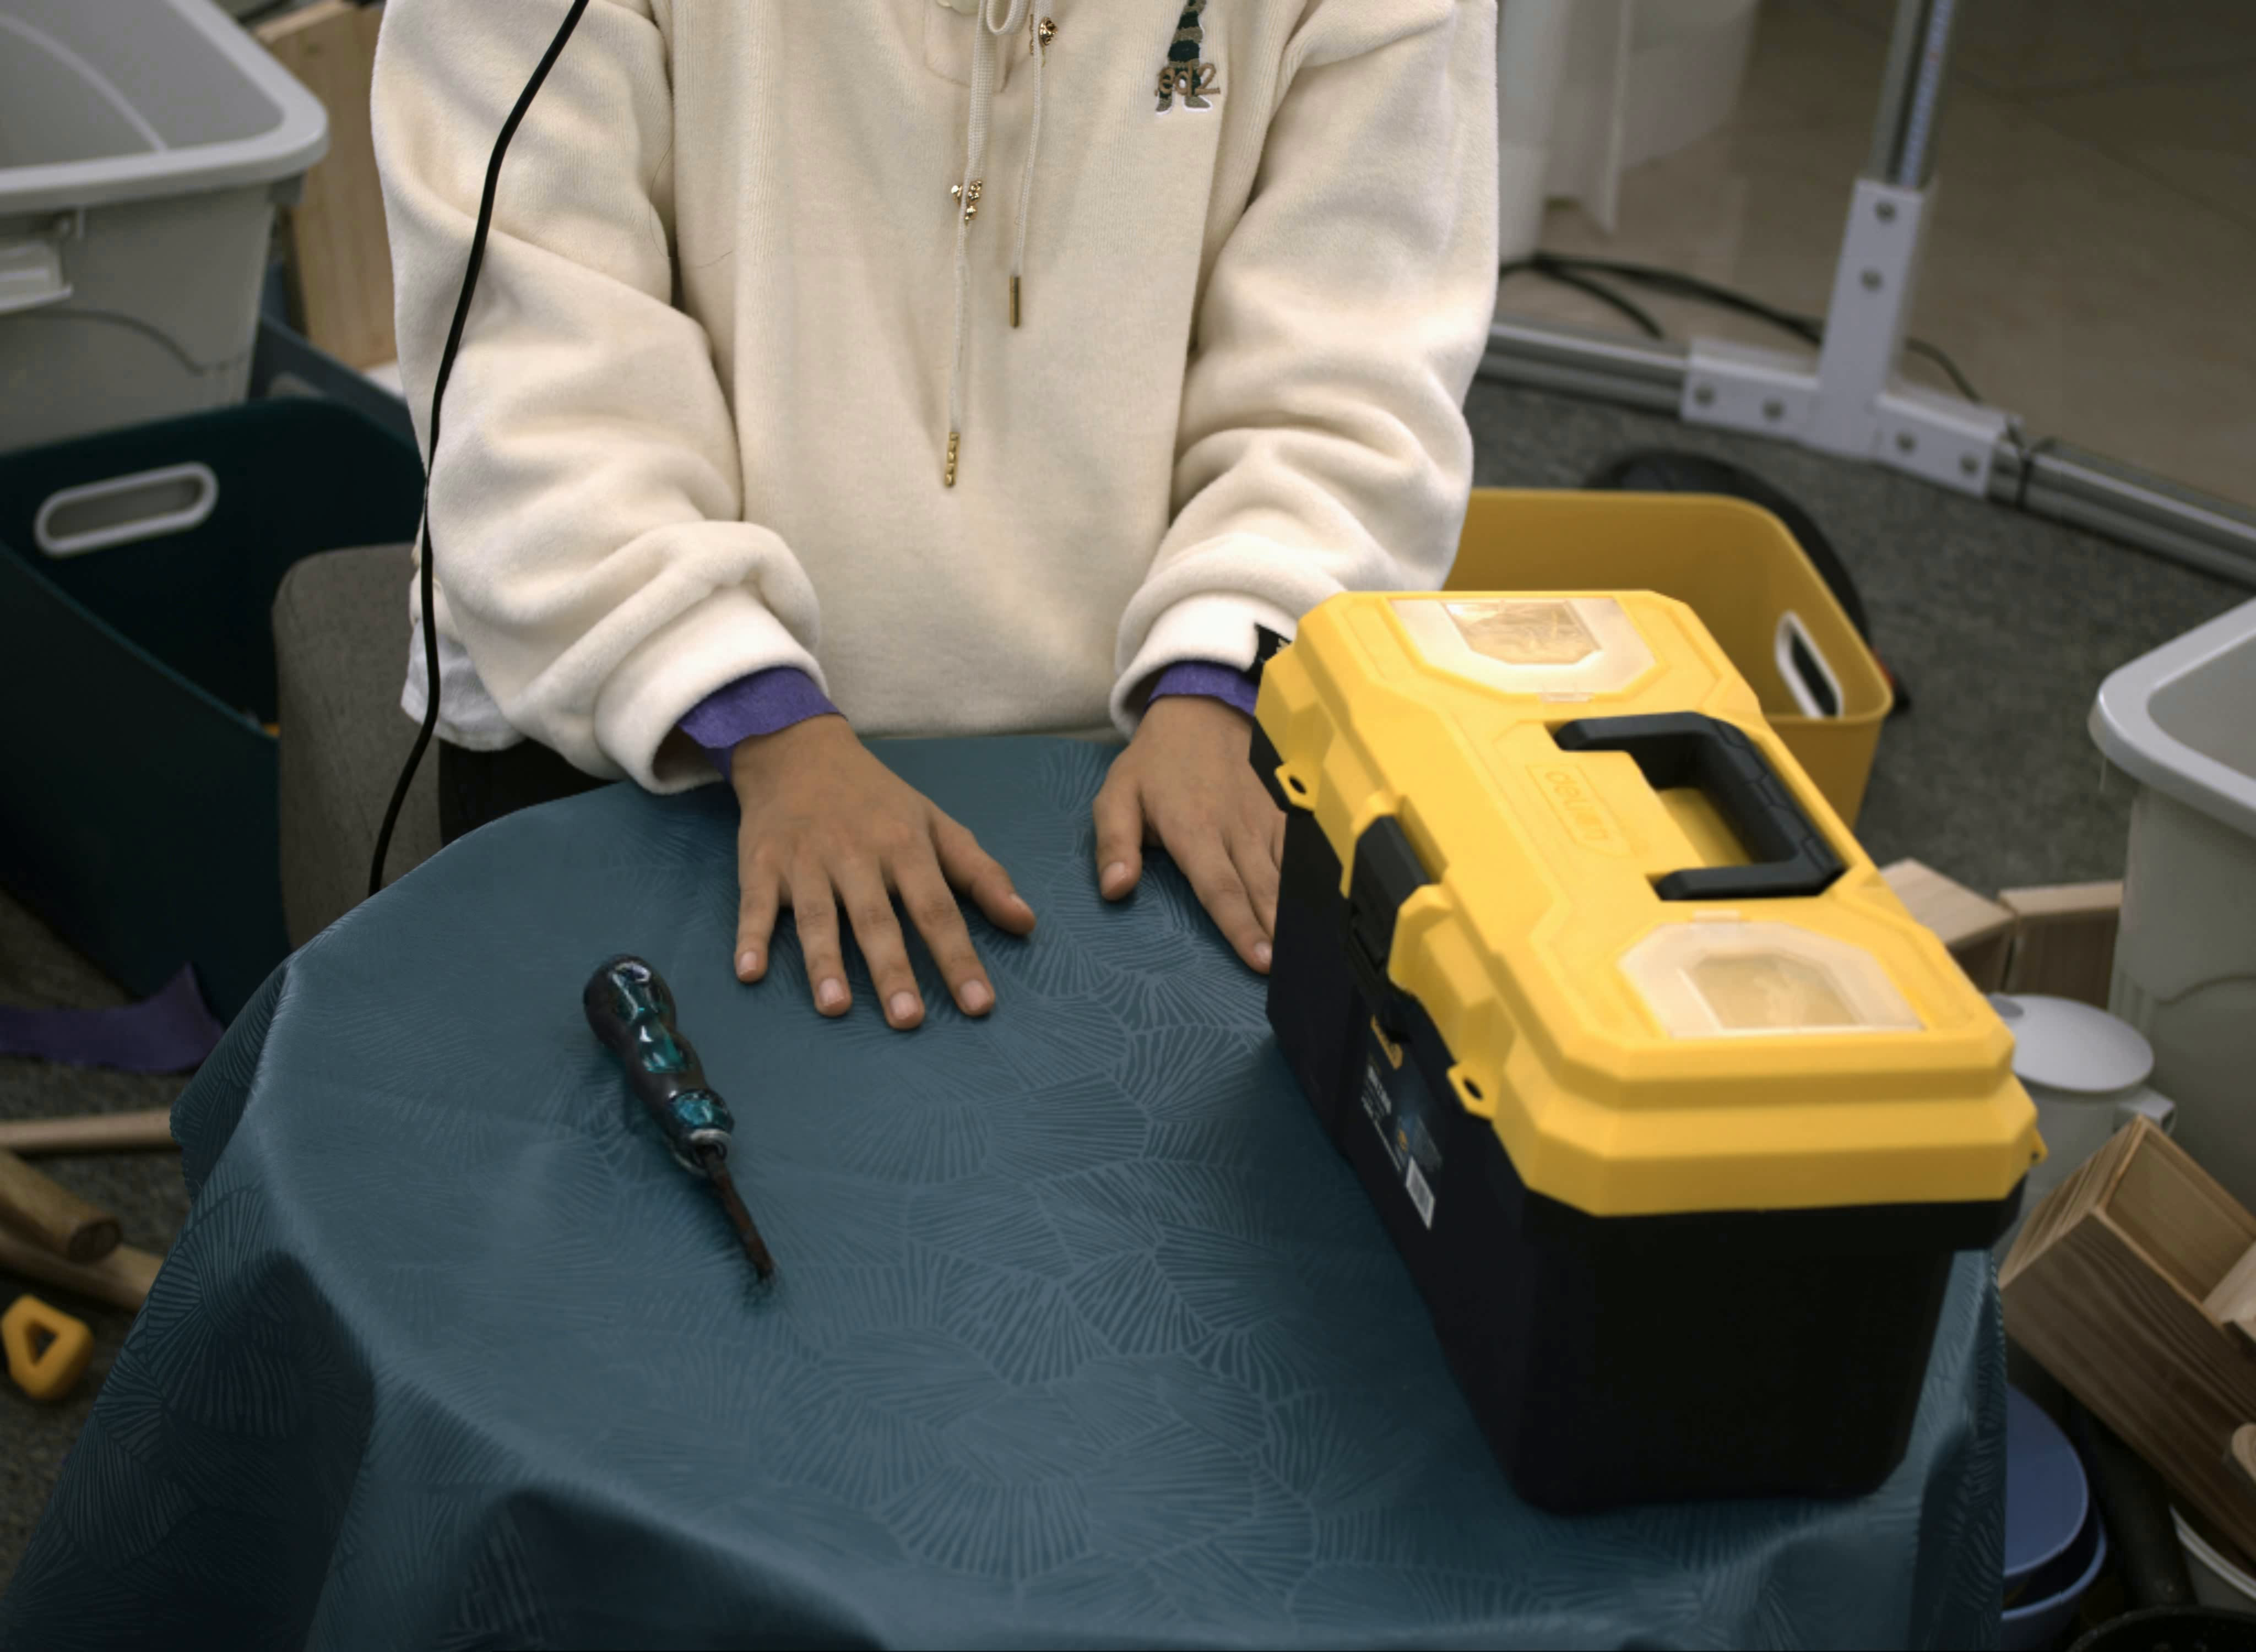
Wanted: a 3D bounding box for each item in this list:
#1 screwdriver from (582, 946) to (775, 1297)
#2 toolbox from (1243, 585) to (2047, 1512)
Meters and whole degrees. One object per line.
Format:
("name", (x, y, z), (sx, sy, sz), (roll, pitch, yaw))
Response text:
("screwdriver", (-0.148, 0.101, 1.790), (0.033, 0.033, 0.192), (-4, 33, -21))
("toolbox", (0.157, 0.066, 1.759), (0.180, 0.172, 0.354), (-1, 28, -14))
